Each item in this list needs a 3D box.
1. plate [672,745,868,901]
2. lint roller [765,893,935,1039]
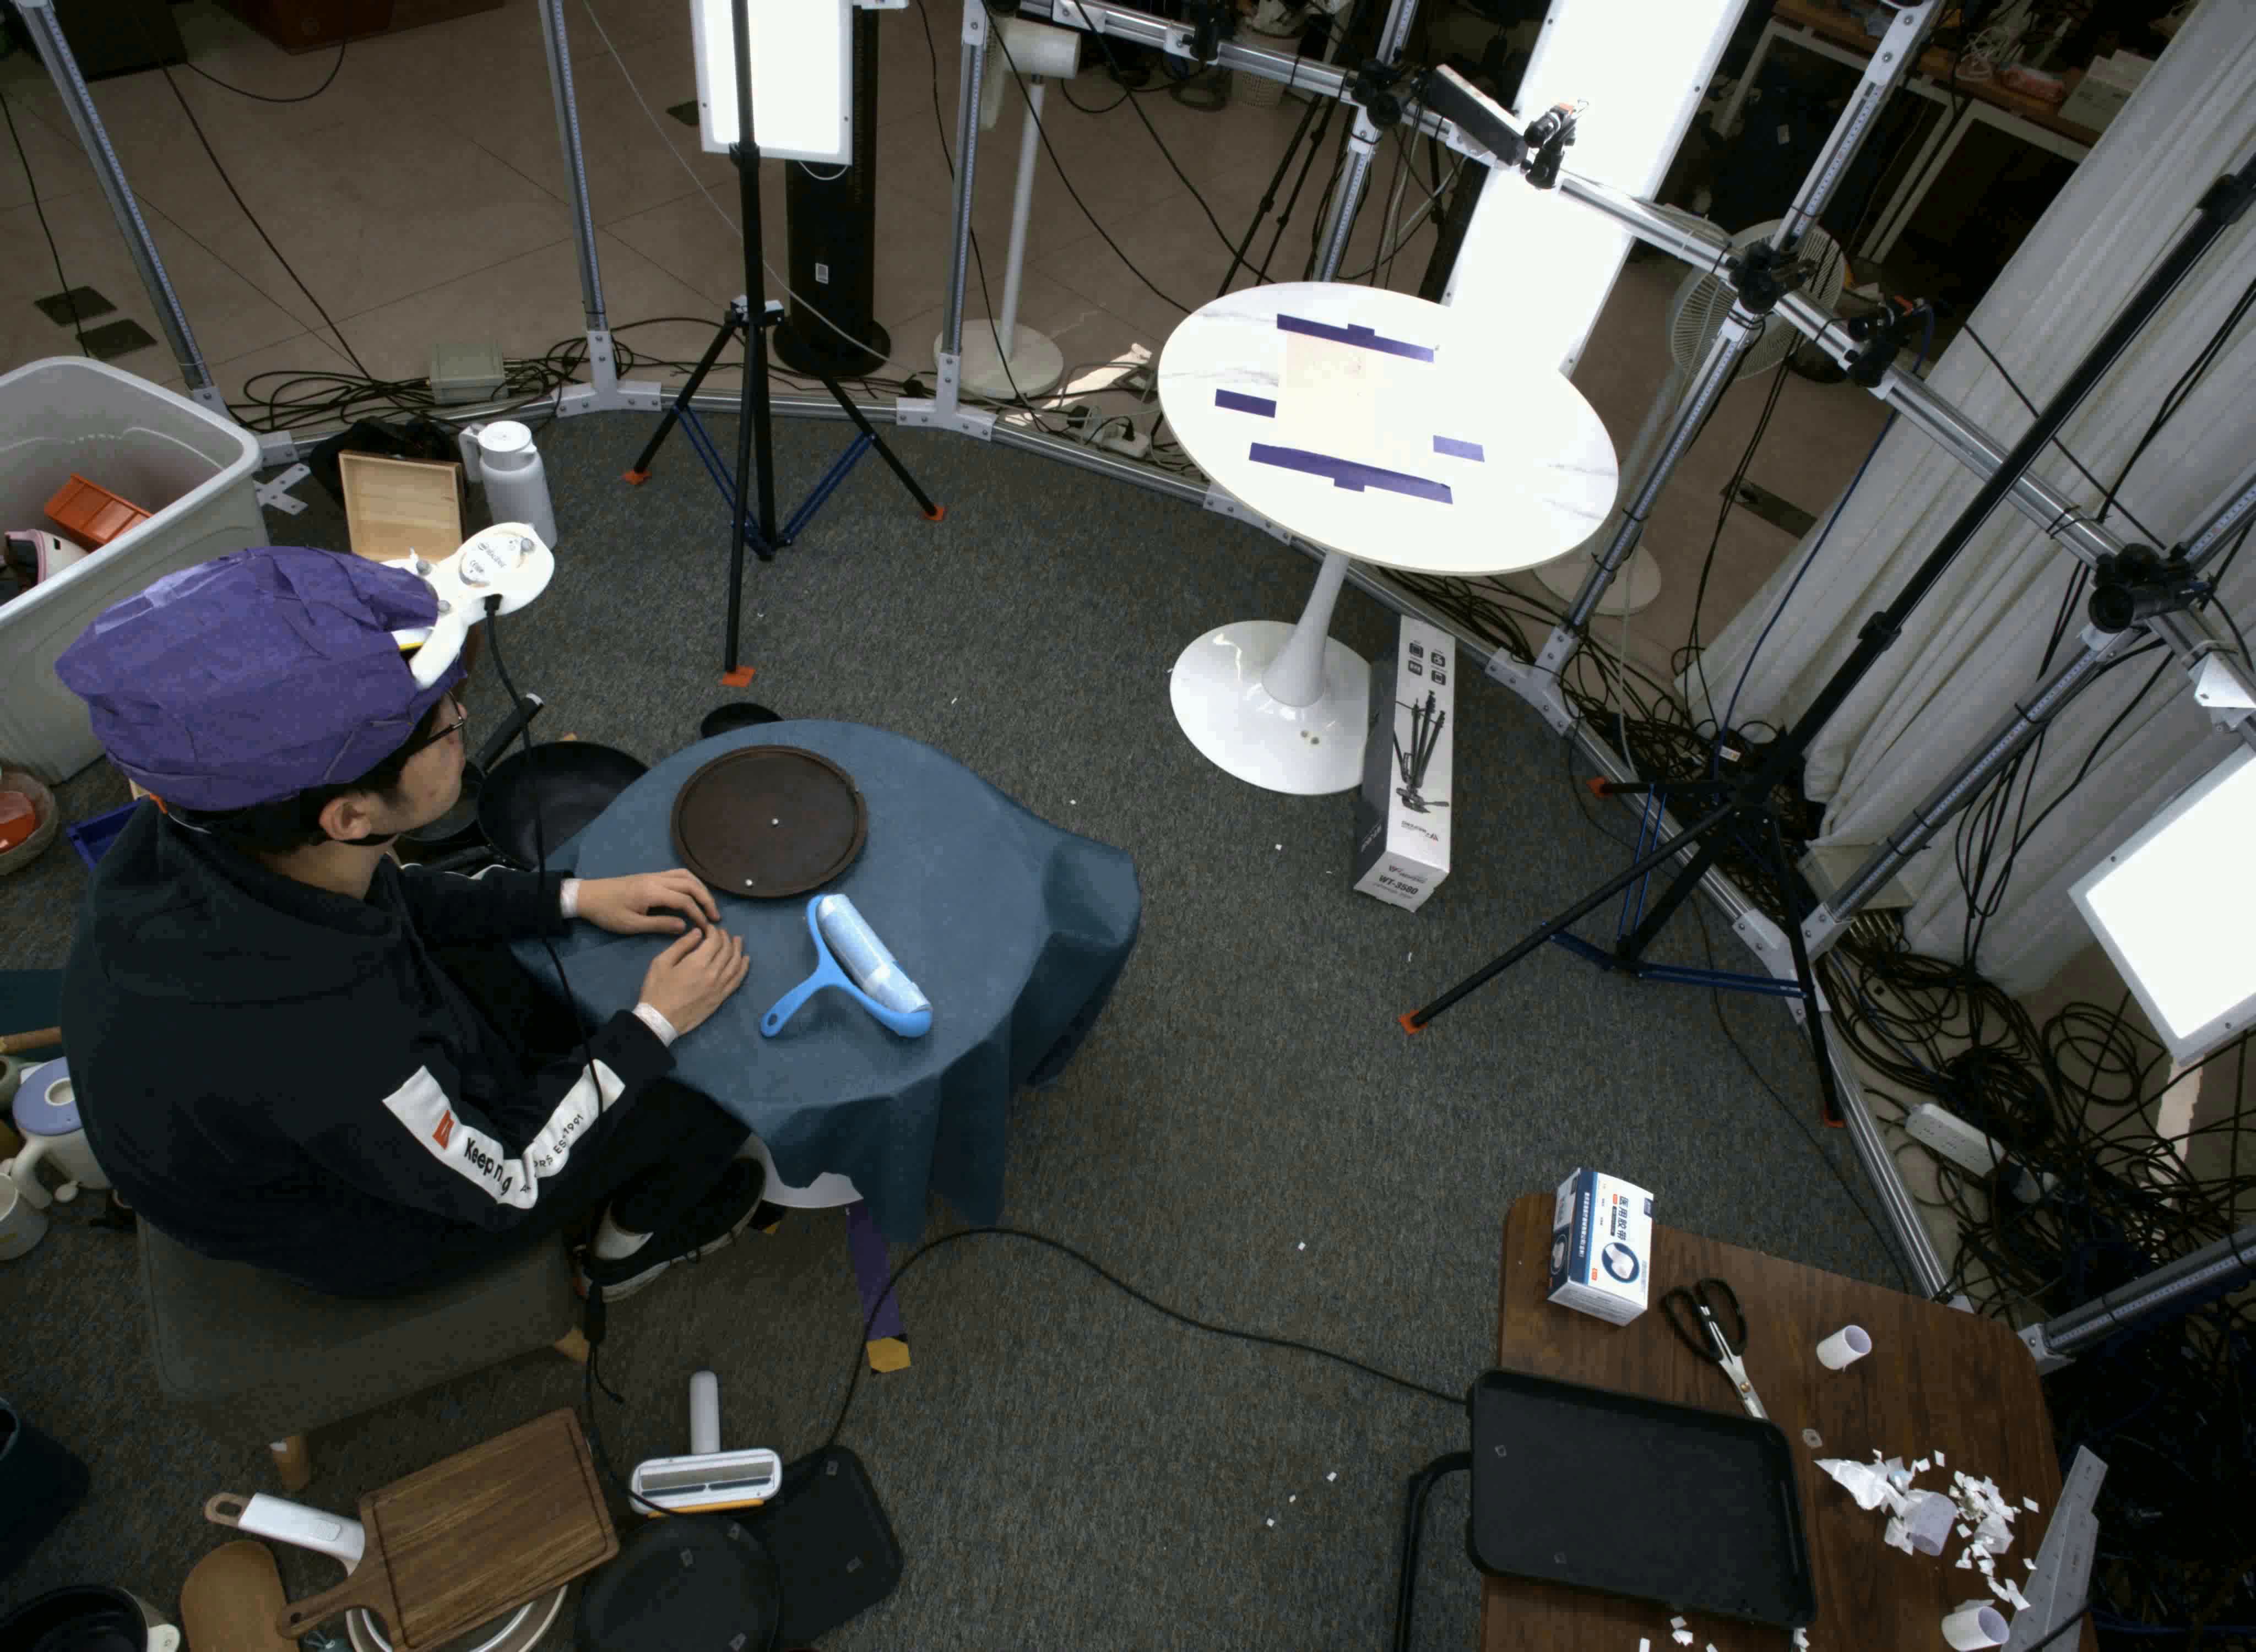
[{"bbox_3d":[-0.471,-0.007,1.708,0.254,0.029,0.250,9,51,-9],"label":"plate"},{"bbox_3d":[-0.358,0.192,1.569,0.181,0.069,0.224,-33,69,-33],"label":"lint roller"}]
